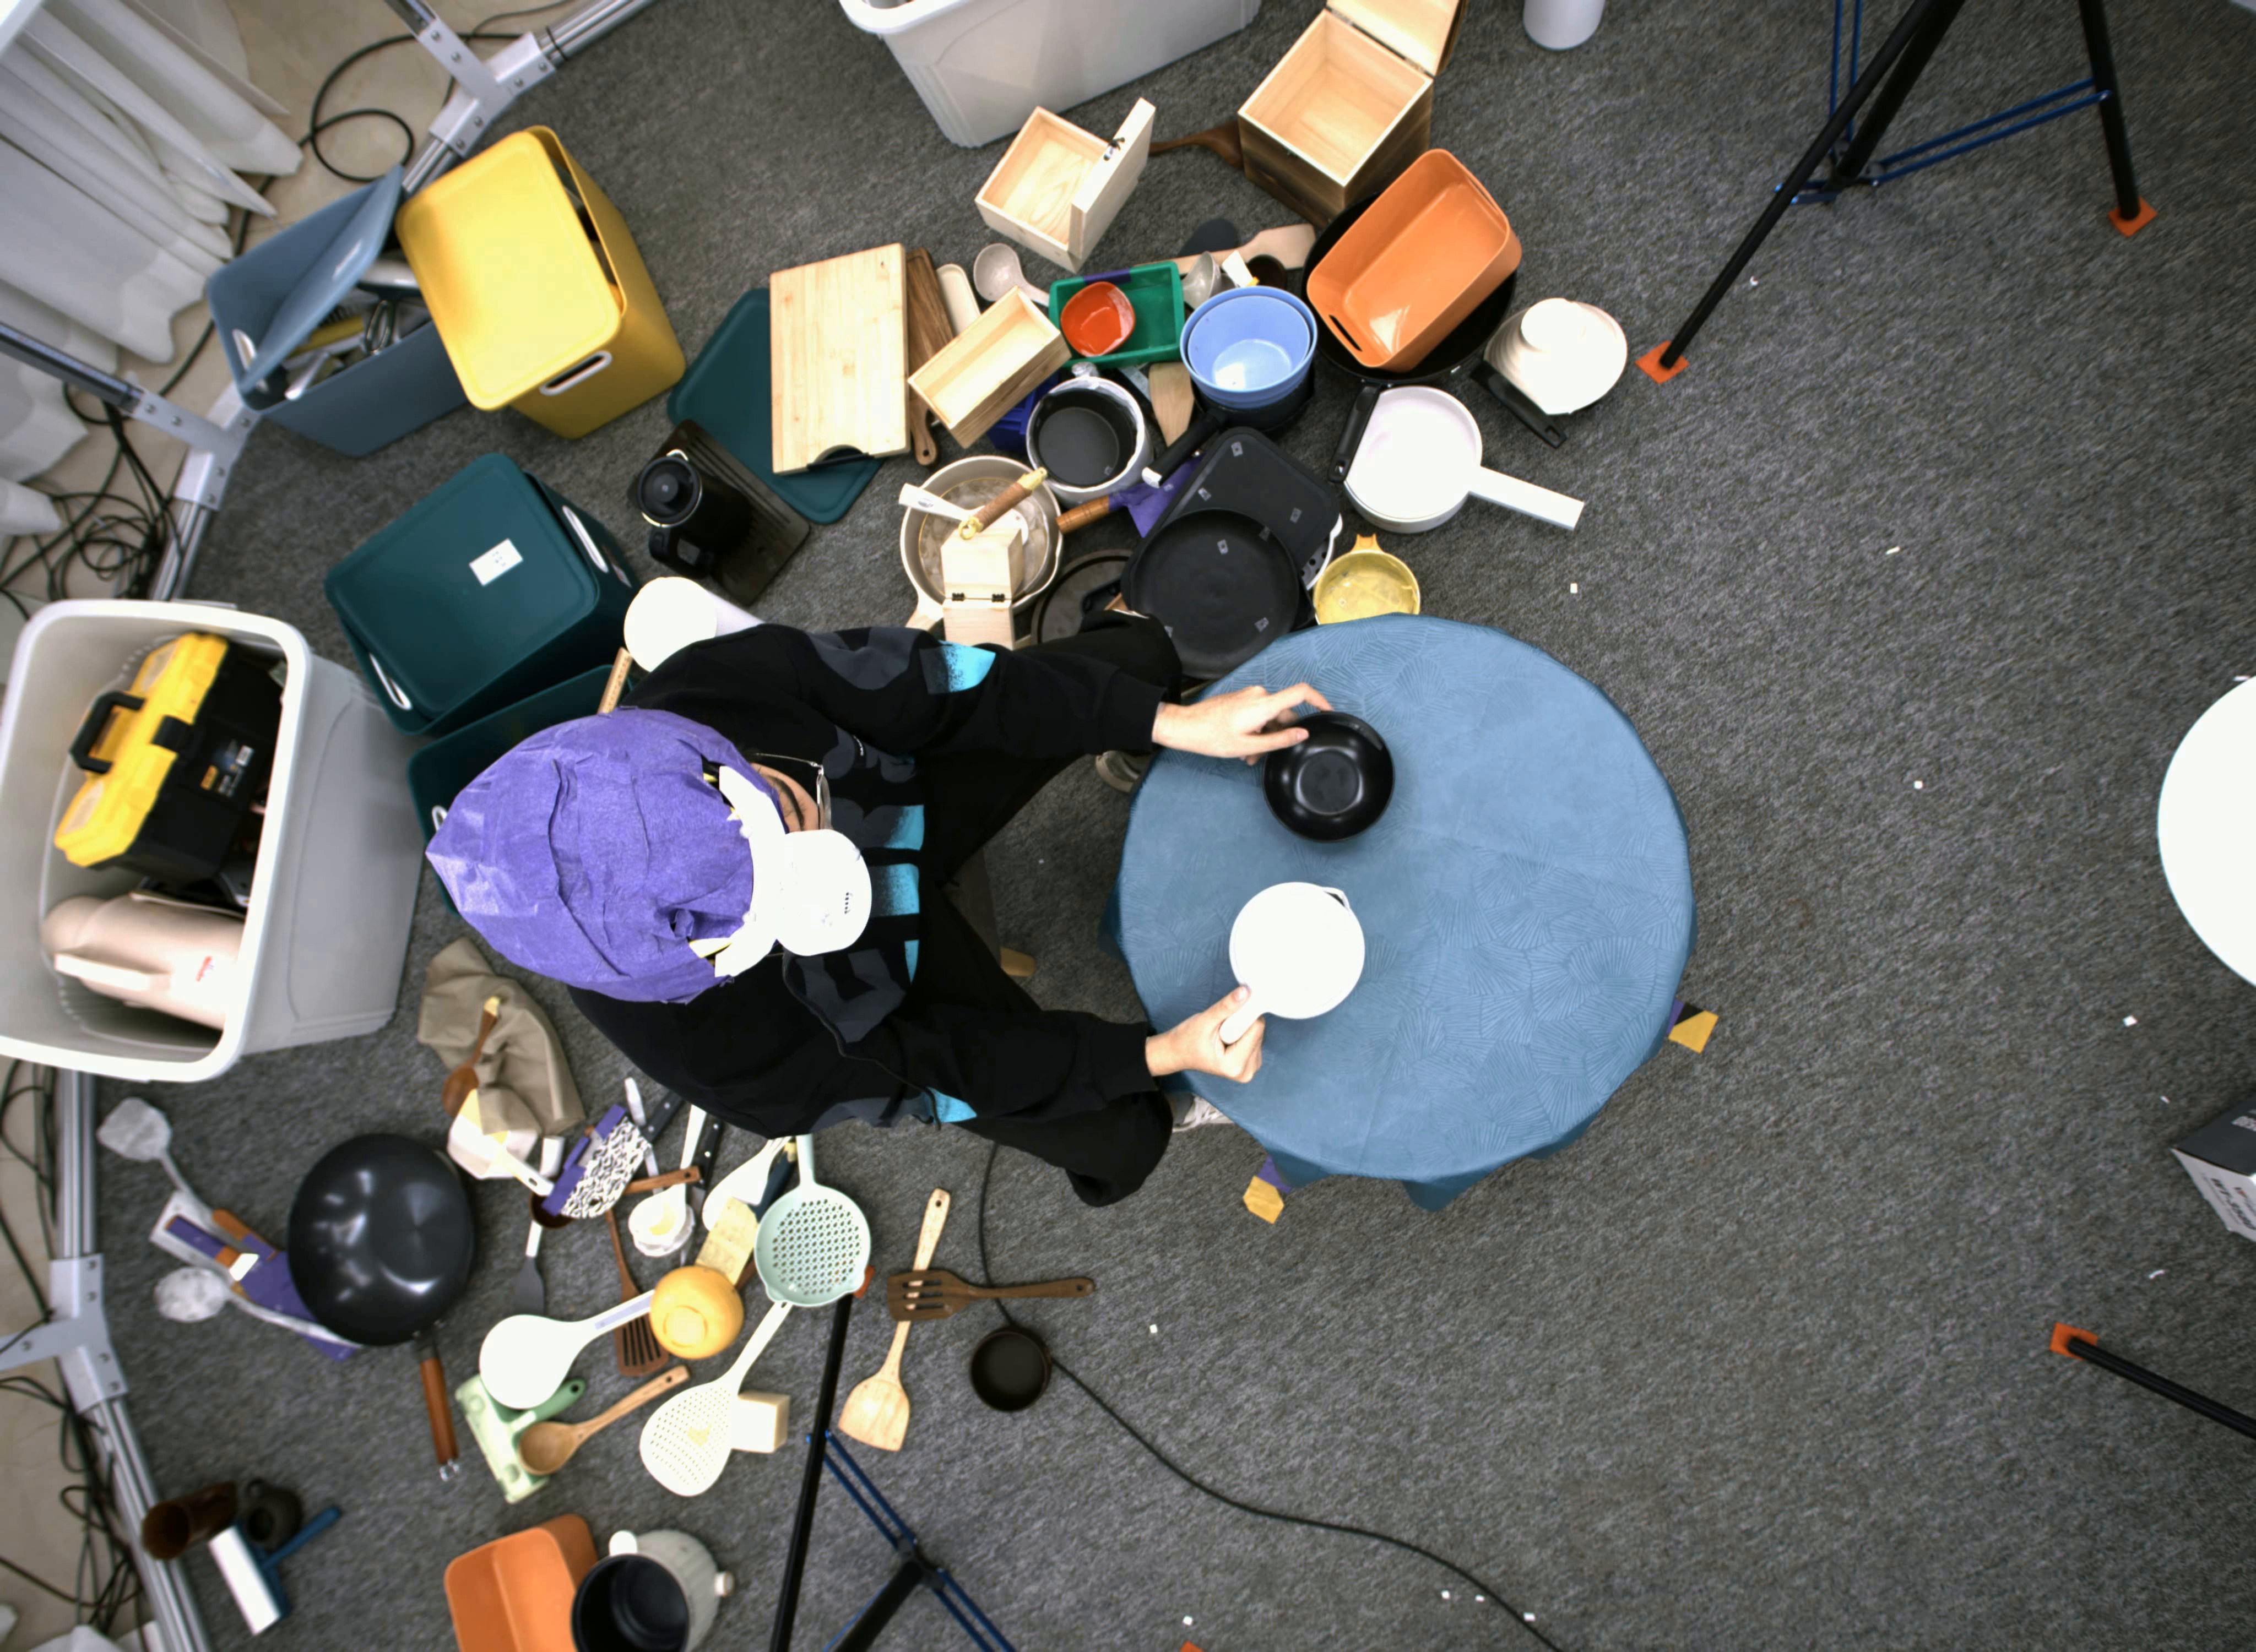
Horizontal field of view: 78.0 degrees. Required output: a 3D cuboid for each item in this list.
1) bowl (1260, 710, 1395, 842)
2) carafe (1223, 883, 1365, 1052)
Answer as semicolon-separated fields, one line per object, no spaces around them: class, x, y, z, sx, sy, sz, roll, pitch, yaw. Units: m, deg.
bowl;0.210;-0.051;1.448;0.140;0.050;0.139;-1;87;12
carafe;0.154;0.145;1.382;0.132;0.183;0.191;37;92;11
